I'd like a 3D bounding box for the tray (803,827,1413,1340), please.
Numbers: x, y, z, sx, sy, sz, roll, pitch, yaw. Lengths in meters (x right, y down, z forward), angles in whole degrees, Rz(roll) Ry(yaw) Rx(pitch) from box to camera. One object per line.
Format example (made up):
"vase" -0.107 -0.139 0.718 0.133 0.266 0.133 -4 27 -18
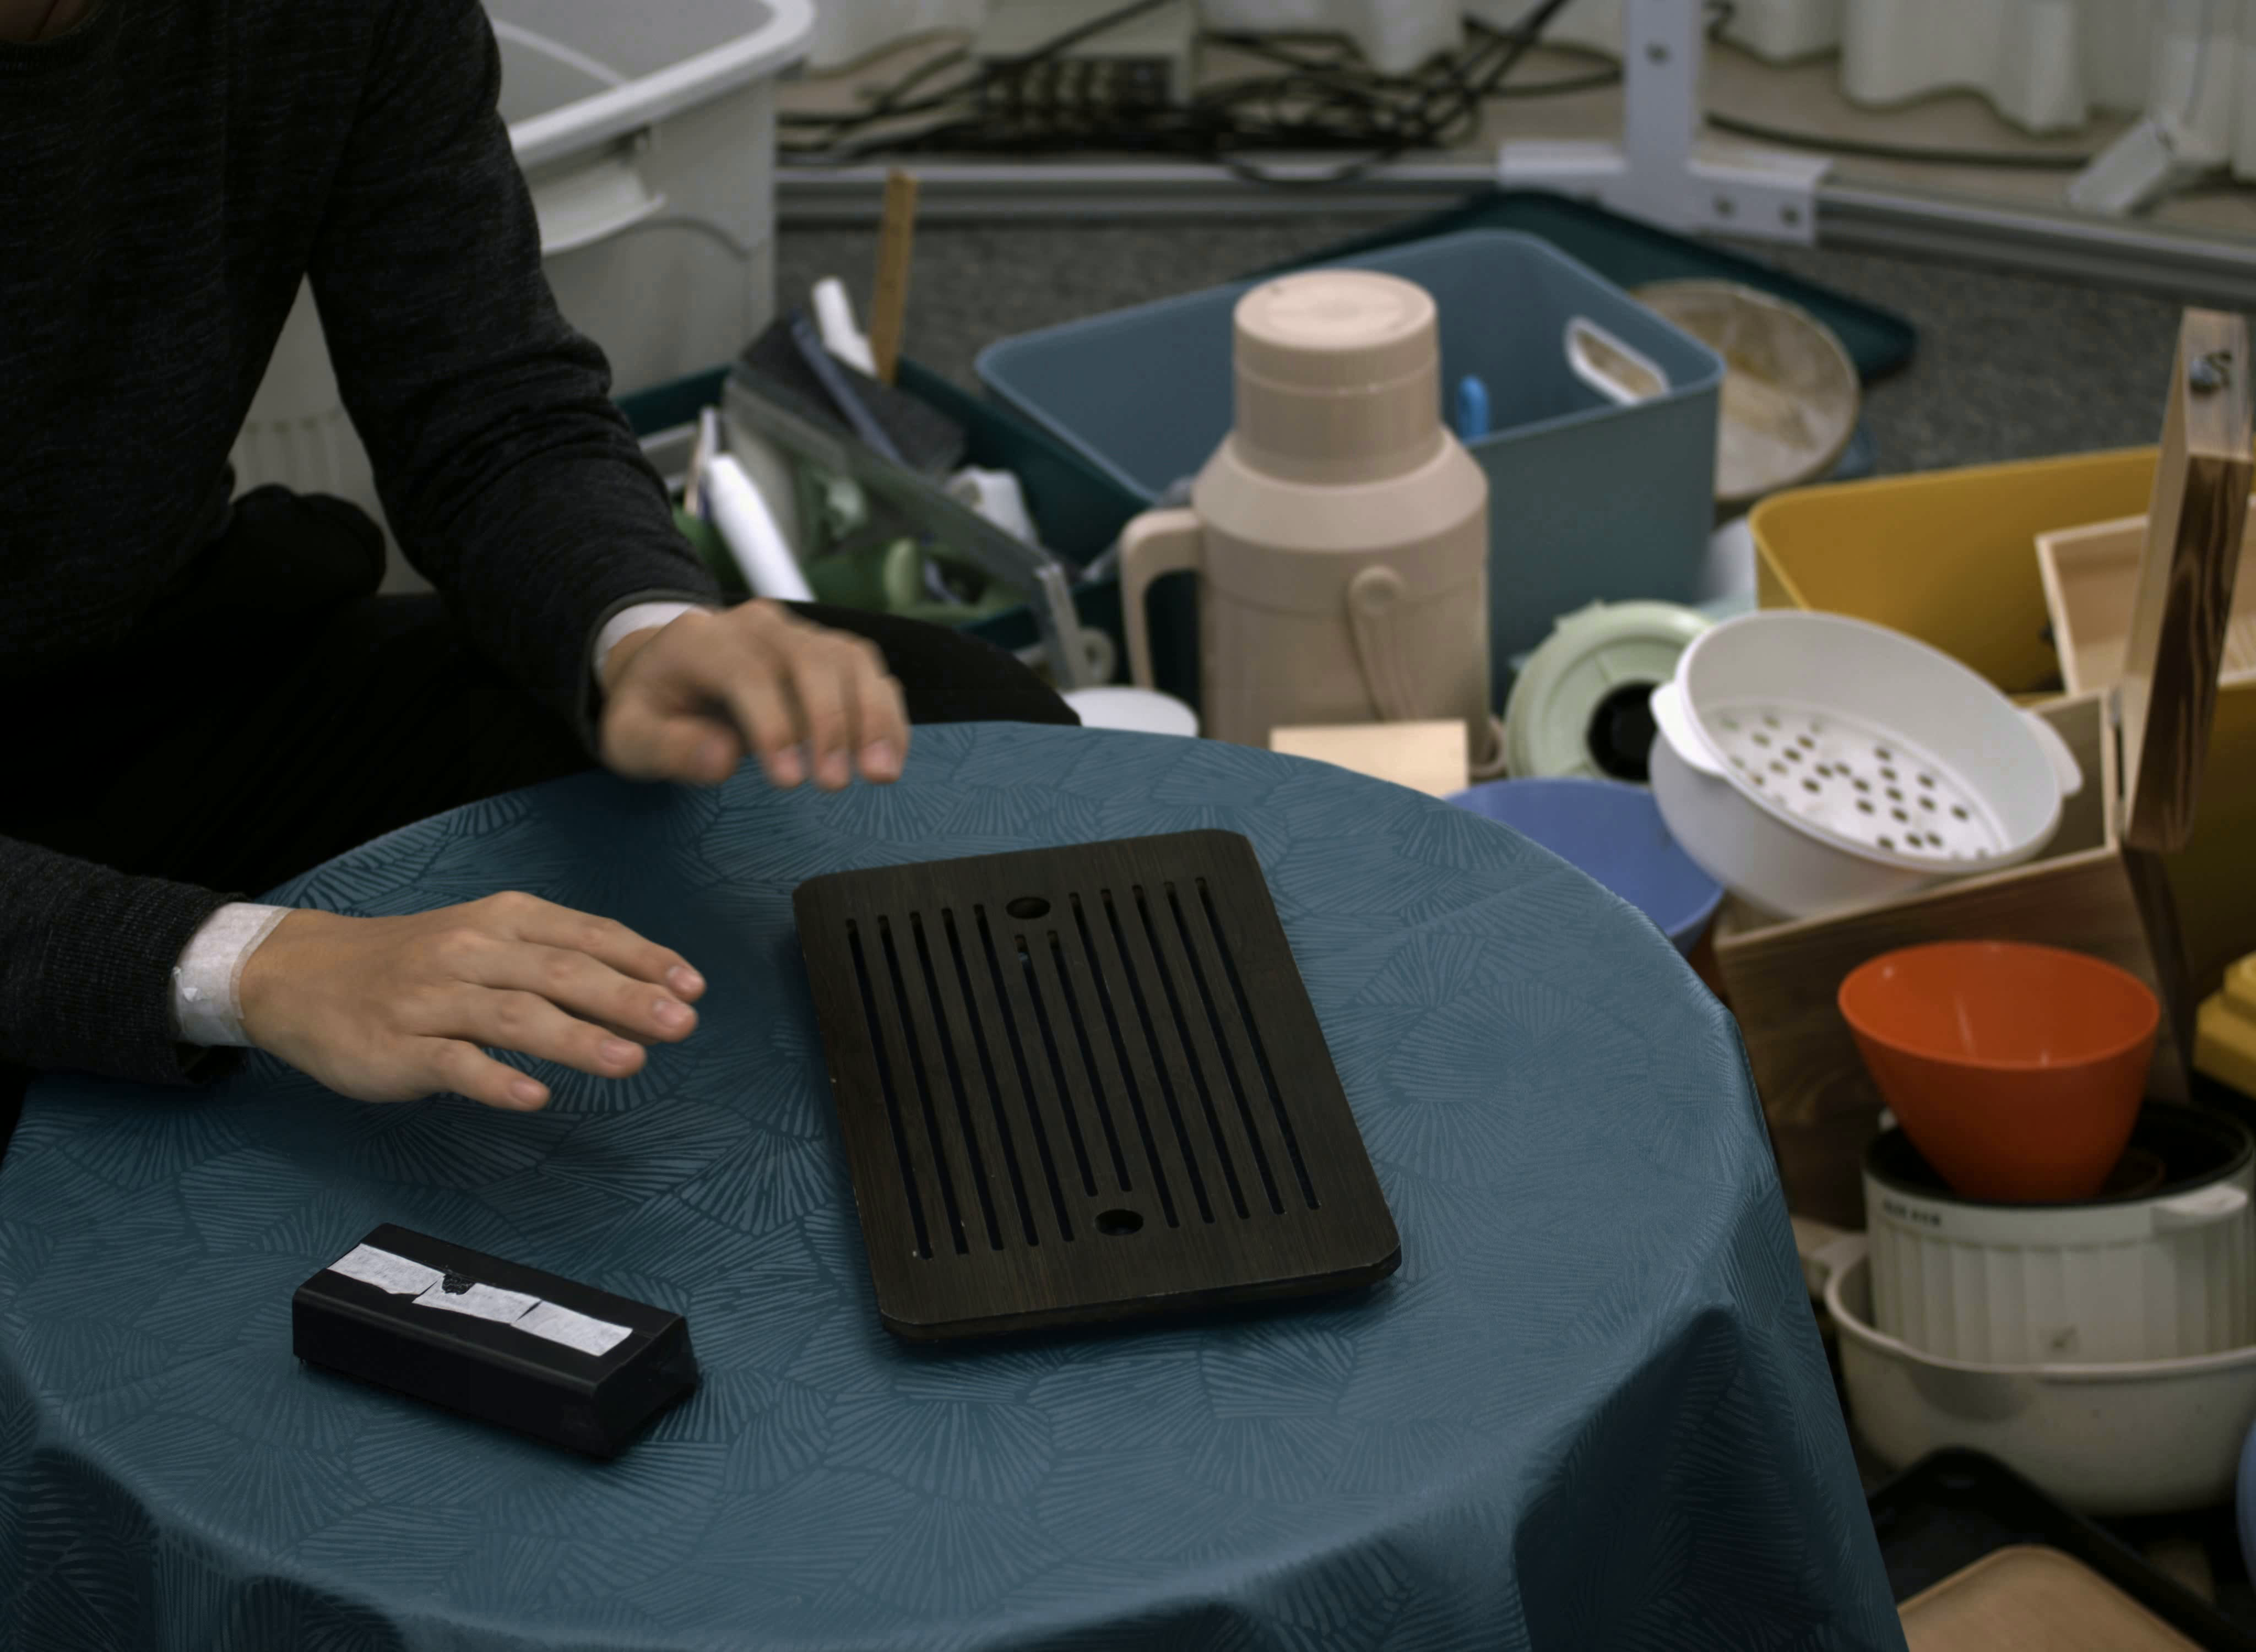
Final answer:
"tray" -0.013 0.085 1.913 0.170 0.018 0.310 -7 27 -6

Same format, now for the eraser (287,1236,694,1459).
"eraser" -0.200 0.164 1.769 0.125 0.030 0.054 12 28 29
